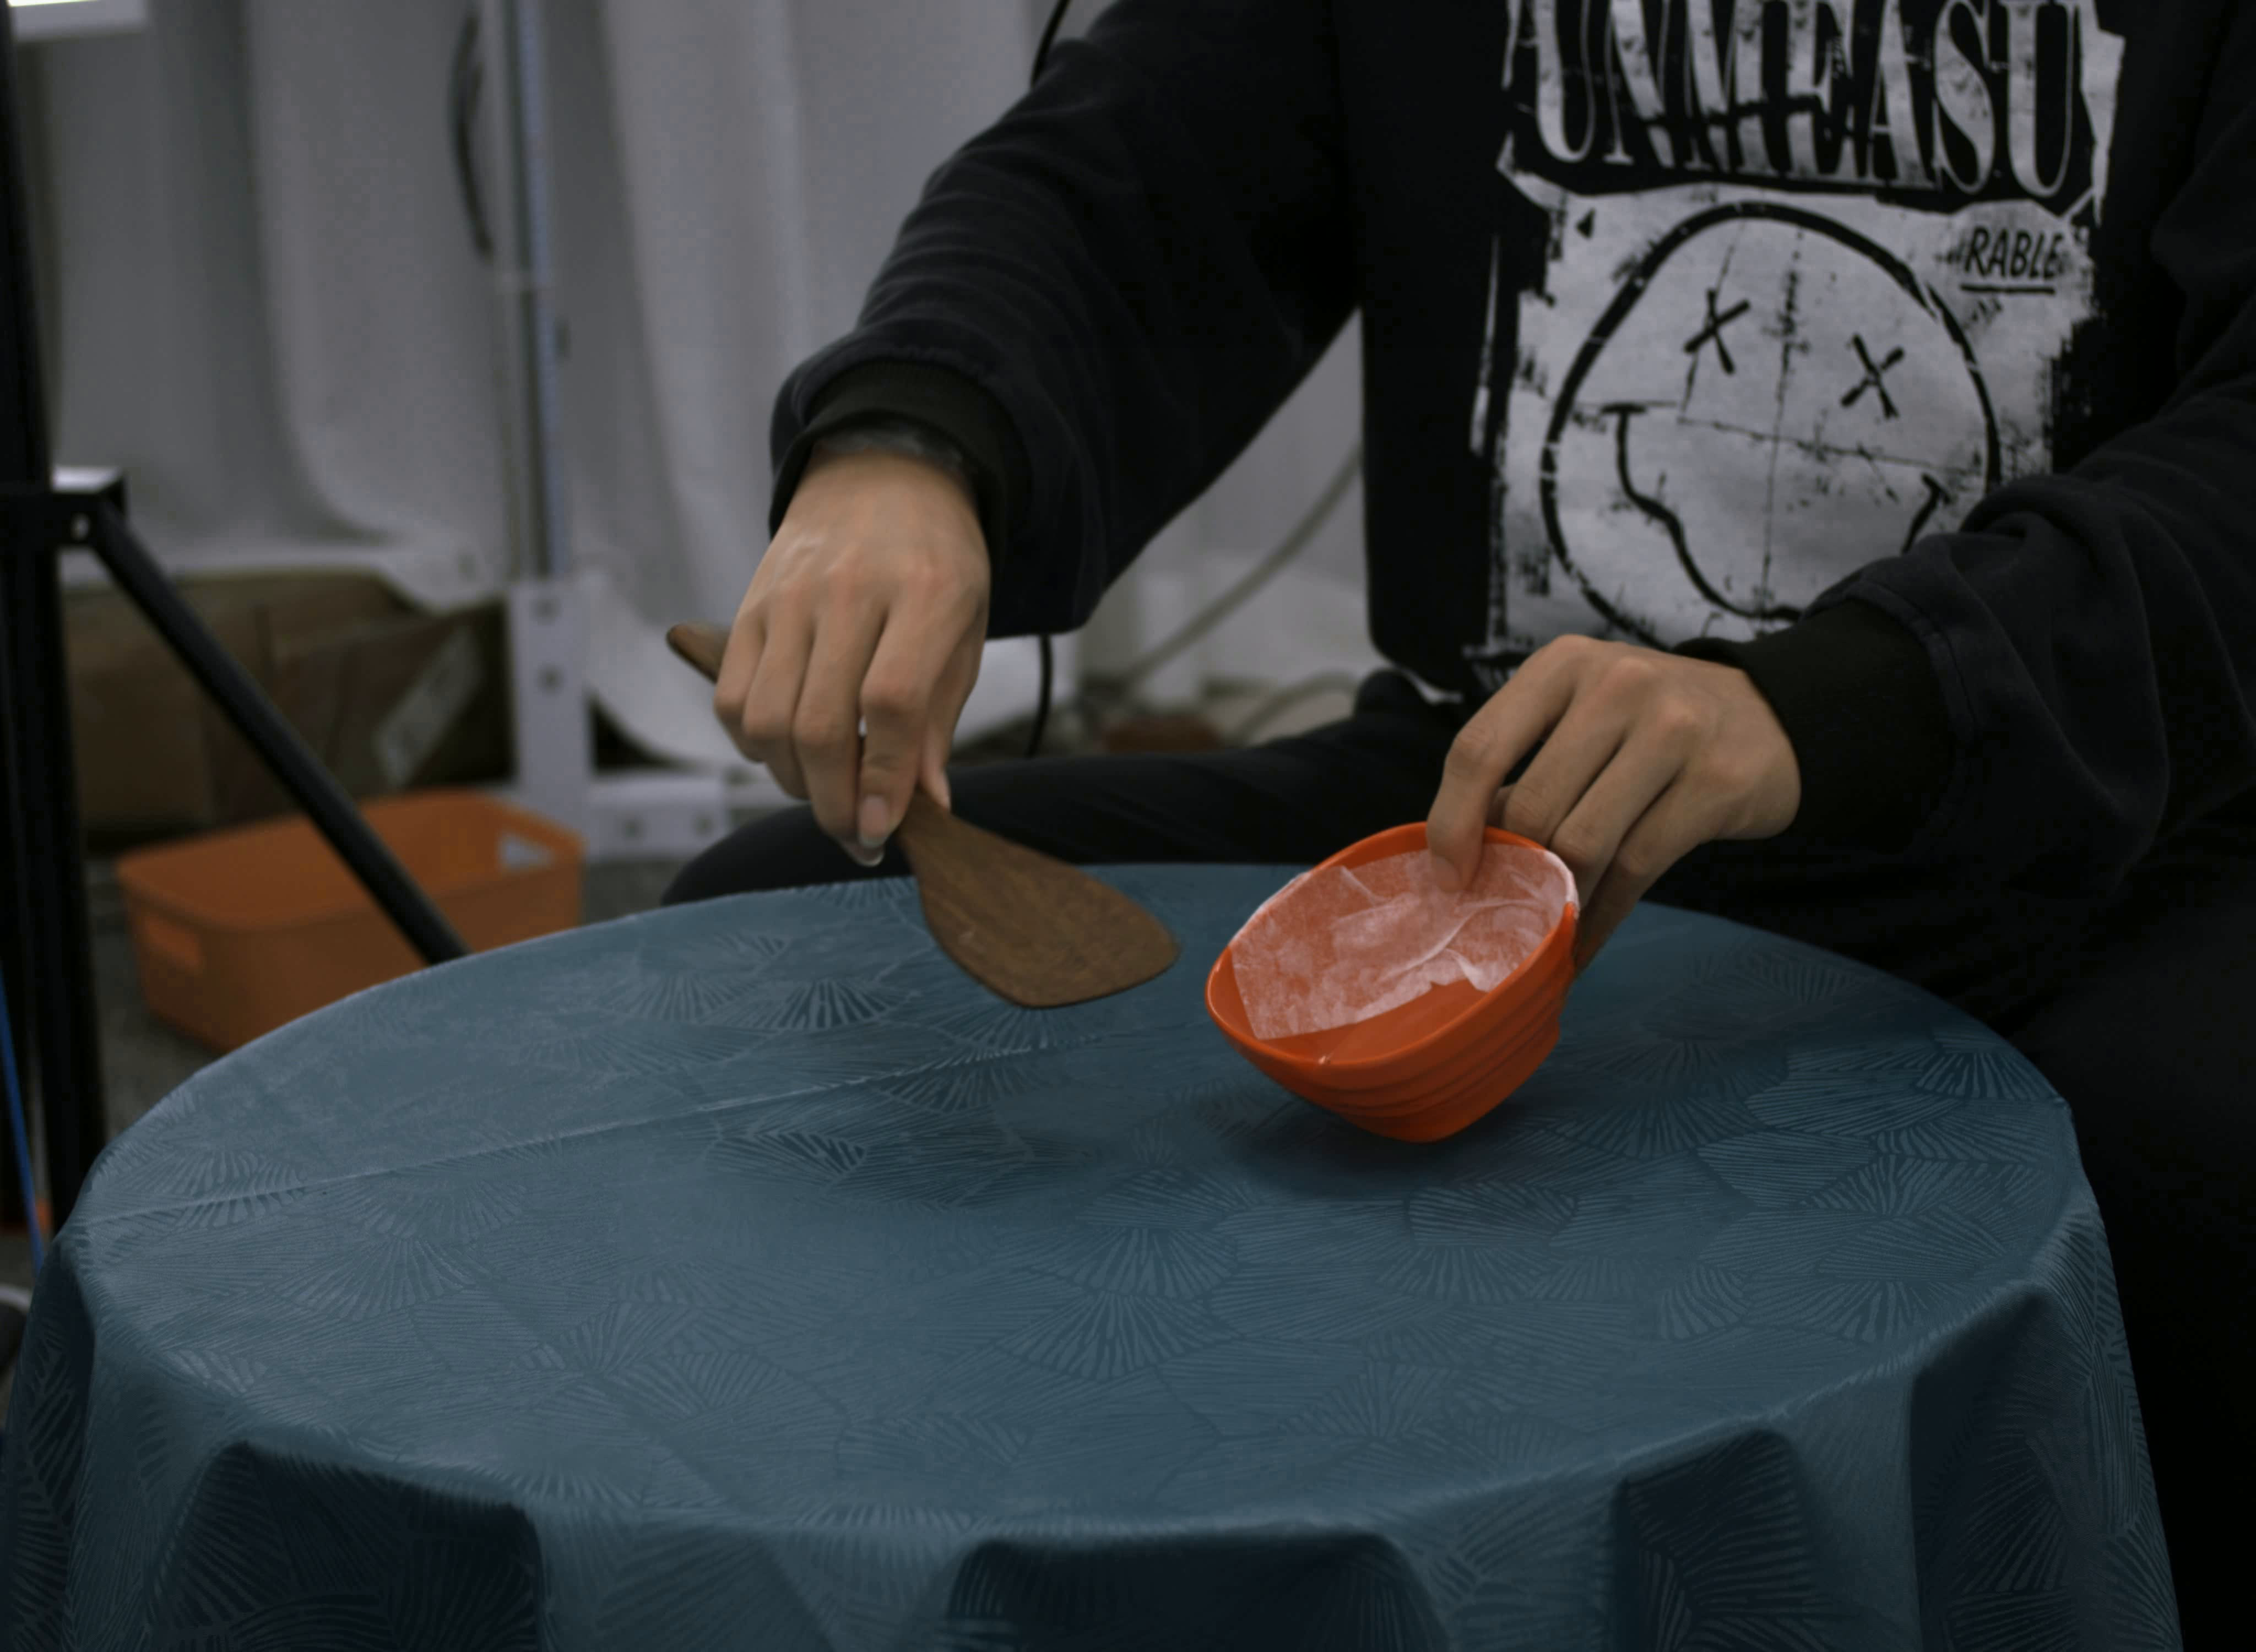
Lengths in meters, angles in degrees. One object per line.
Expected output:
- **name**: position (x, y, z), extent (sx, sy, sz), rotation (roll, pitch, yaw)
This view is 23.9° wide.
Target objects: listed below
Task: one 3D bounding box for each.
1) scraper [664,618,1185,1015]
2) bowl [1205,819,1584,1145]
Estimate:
- **scraper**: position (-0.071, -0.005, 1.627), extent (0.074, 0.011, 0.216), rotation (-15, 43, -41)
- **bowl**: position (0.087, 0.053, 1.601), extent (0.119, 0.050, 0.120), rotation (-19, 32, 11)
